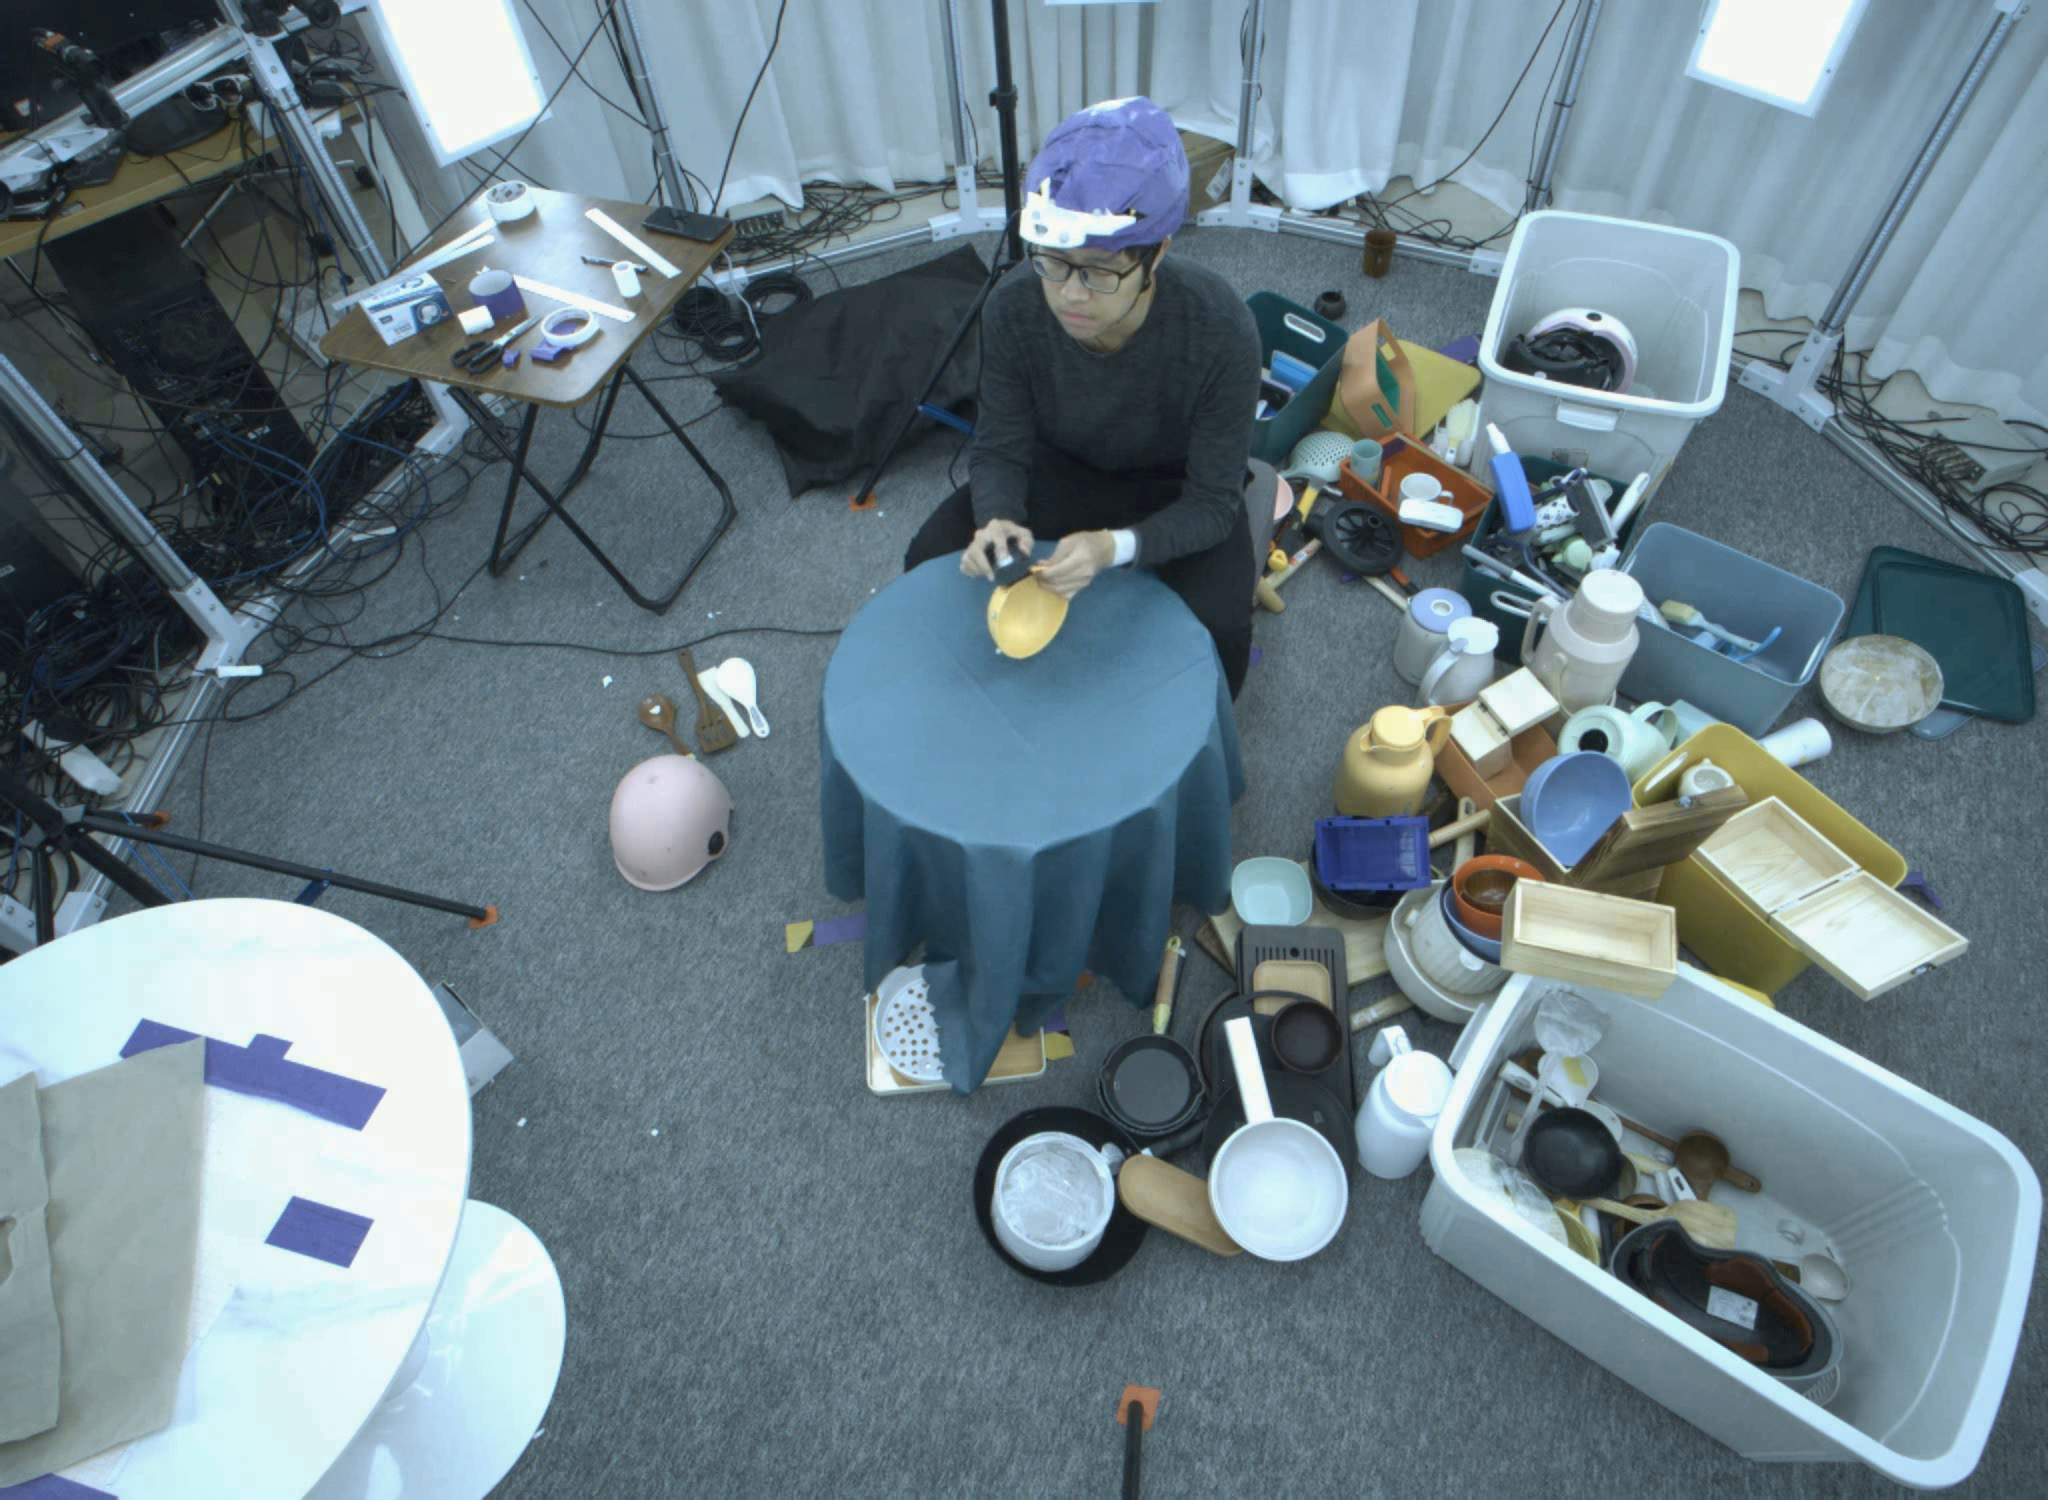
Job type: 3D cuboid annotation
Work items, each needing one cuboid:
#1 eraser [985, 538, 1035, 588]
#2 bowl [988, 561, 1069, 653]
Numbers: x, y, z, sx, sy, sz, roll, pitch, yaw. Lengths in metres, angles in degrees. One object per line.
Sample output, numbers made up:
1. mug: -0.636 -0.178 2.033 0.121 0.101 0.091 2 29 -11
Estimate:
1. eraser: -0.022 -0.271 1.764 0.053 0.031 0.123 -26 26 1
2. bowl: -0.005 -0.218 1.799 0.146 0.147 0.059 -40 53 -22
